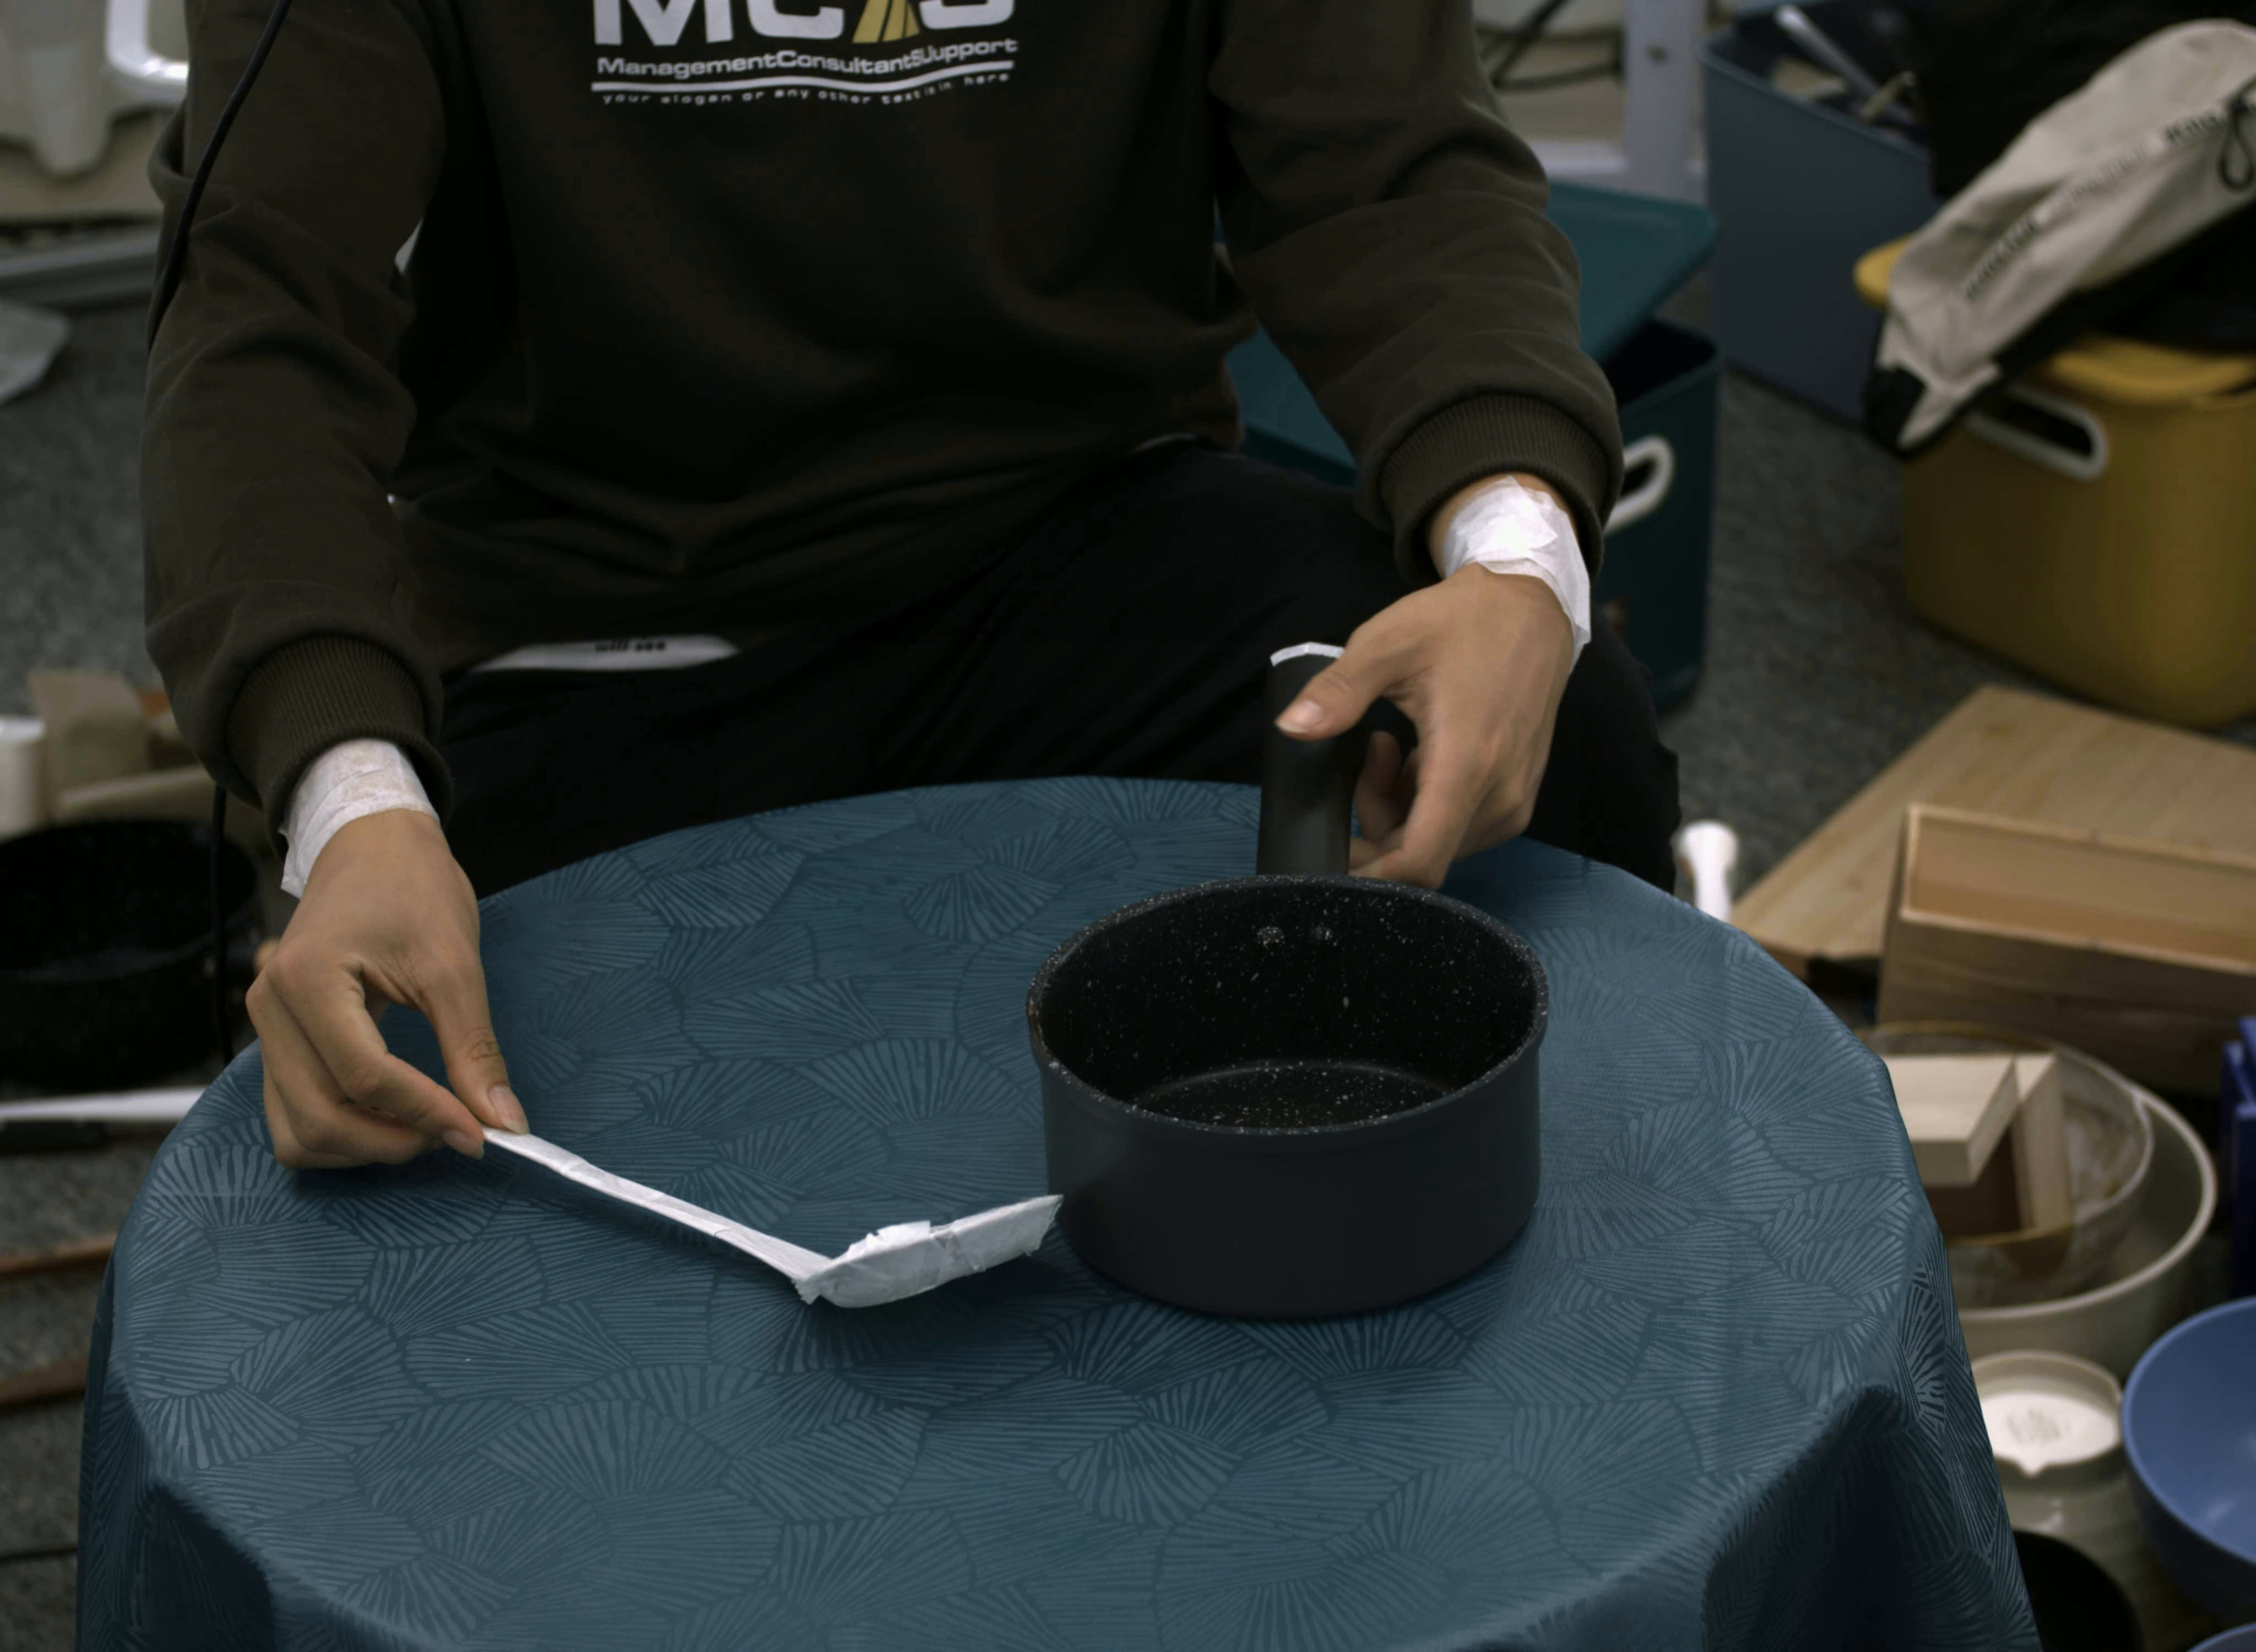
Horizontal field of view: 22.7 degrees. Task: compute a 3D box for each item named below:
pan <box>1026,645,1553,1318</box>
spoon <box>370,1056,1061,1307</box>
[{"bbox_3d":[0.062,0.049,1.907,0.171,0.085,0.334,2,28,7],"label":"pan"},{"bbox_3d":[-0.141,0.101,1.844,0.277,0.059,0.101,22,17,33],"label":"spoon"}]
